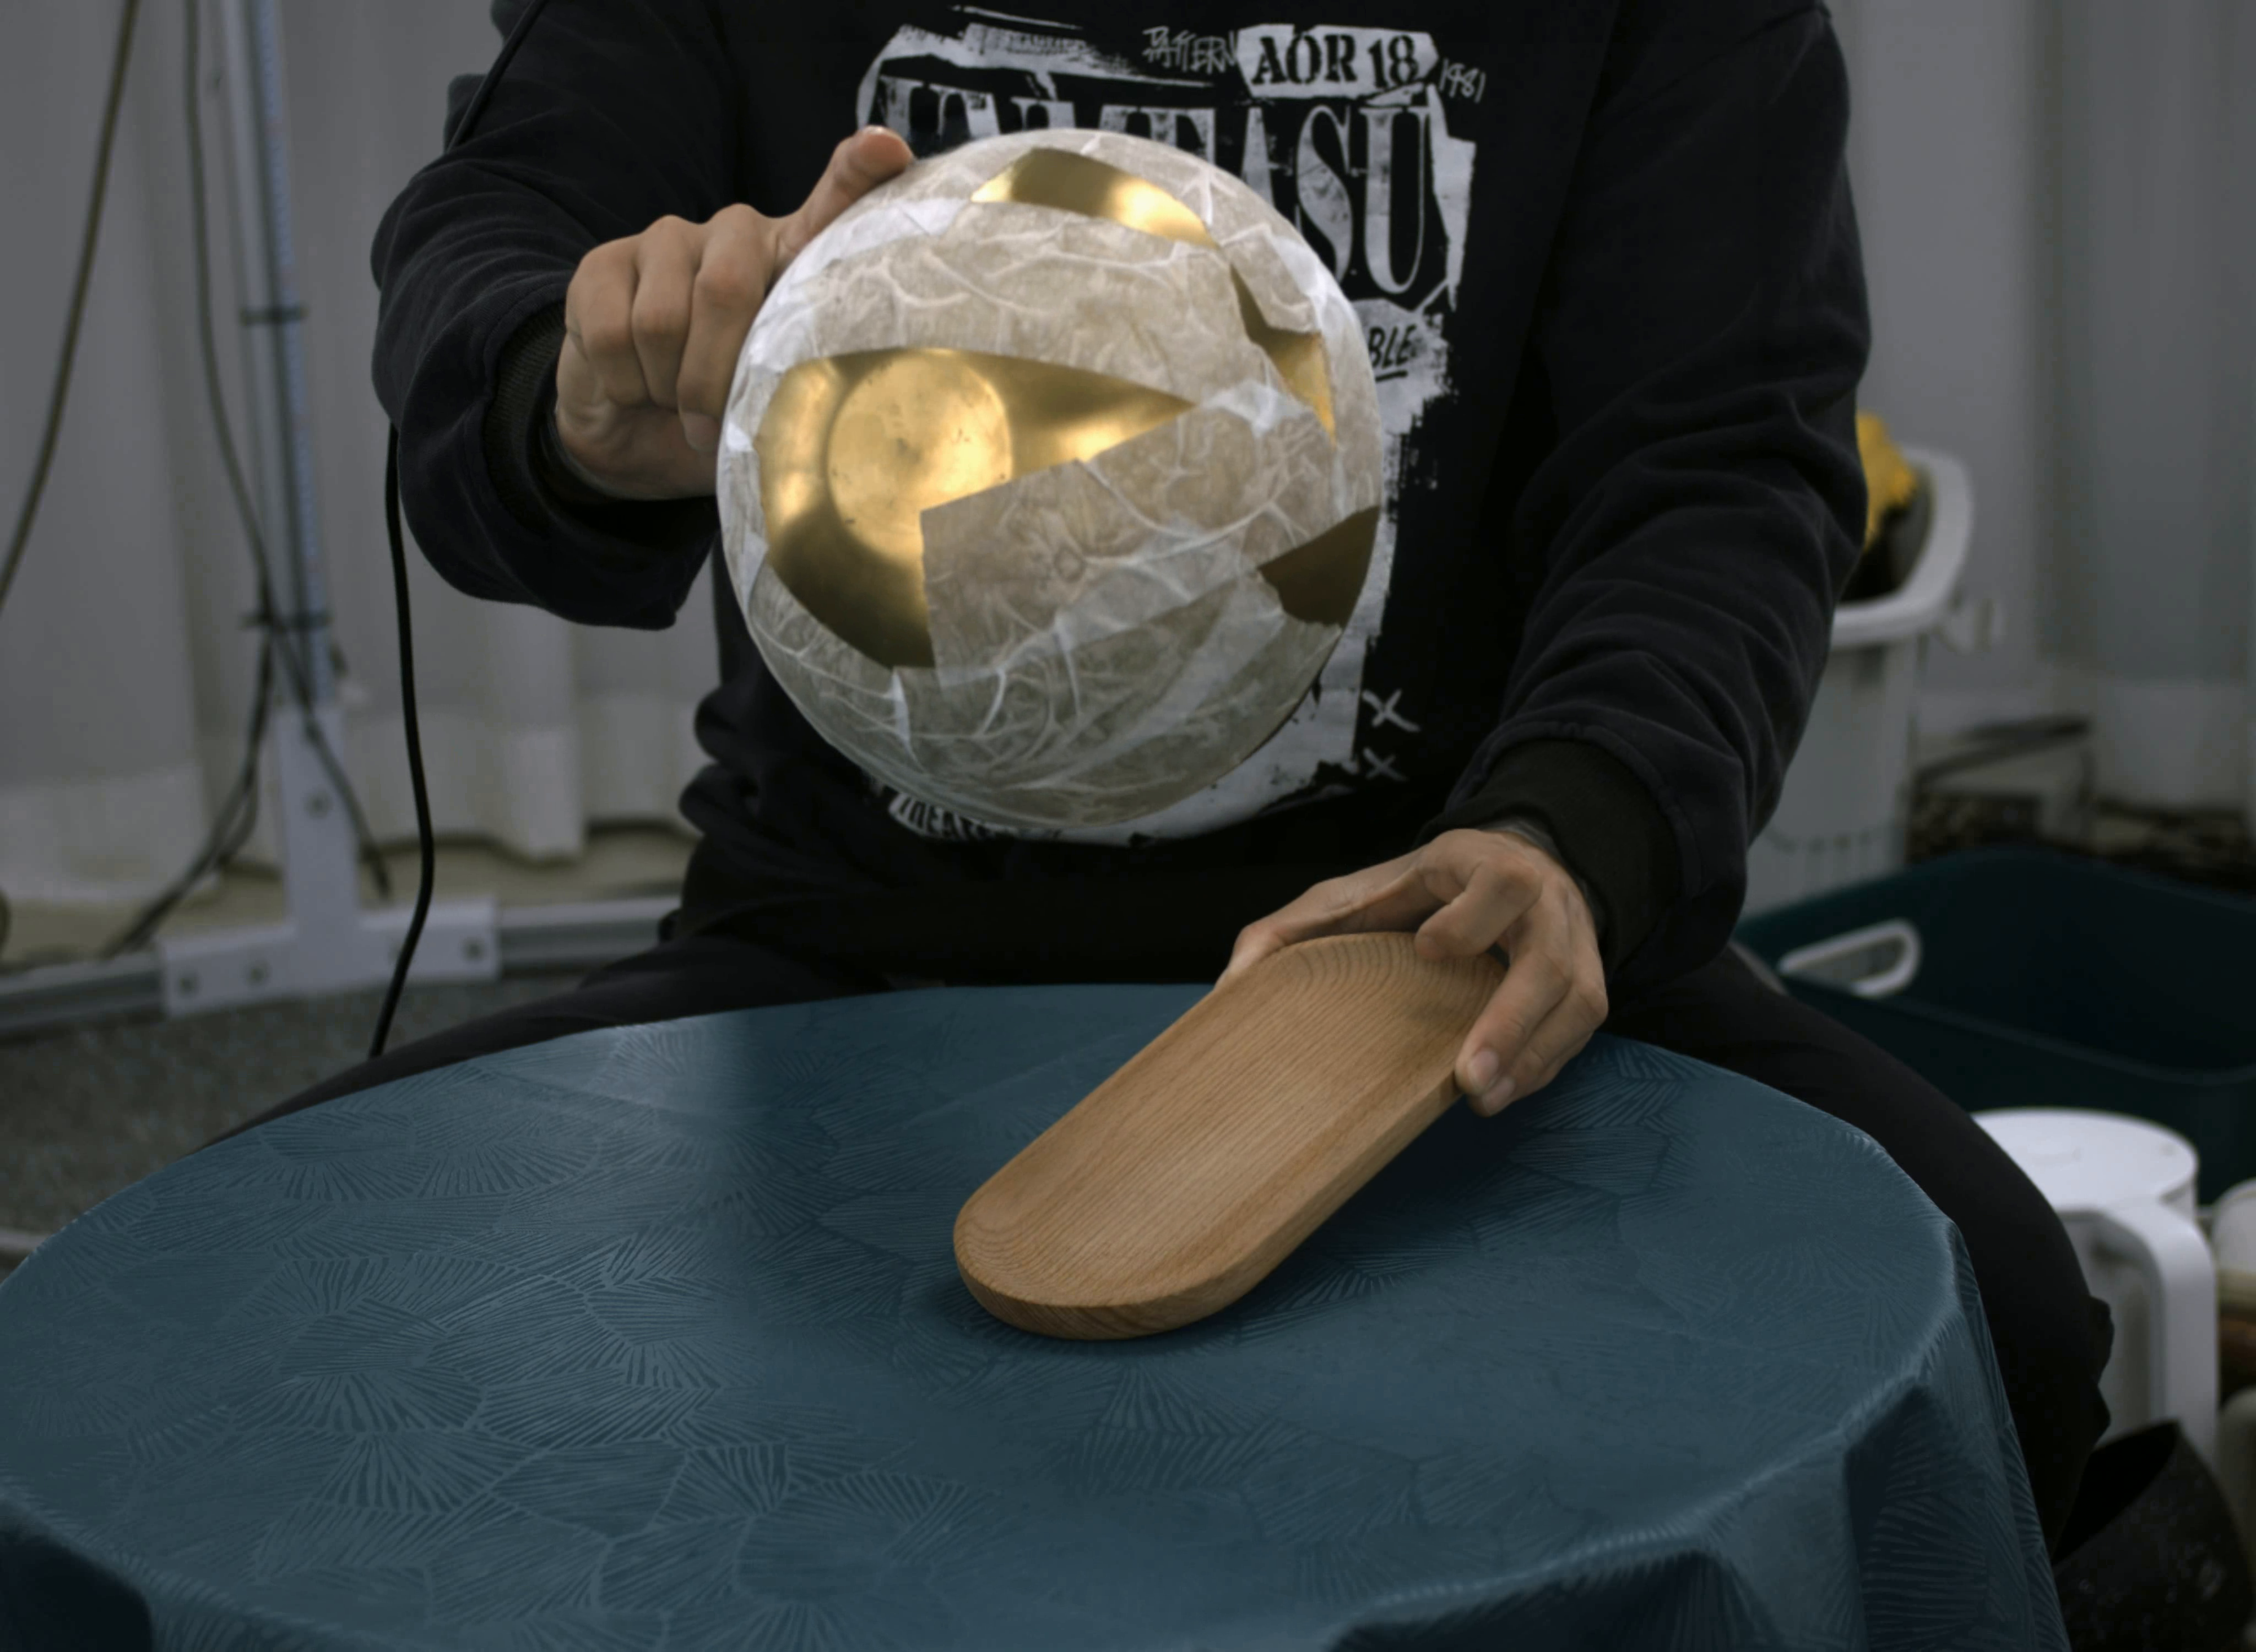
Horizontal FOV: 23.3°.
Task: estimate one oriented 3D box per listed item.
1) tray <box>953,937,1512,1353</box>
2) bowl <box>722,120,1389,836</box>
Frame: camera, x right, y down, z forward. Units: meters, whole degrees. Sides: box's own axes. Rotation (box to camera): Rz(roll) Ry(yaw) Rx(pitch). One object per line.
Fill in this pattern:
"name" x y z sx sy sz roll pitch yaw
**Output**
"tray" 0.035 0.095 1.665 0.102 0.020 0.232 8 33 34
"bowl" -0.037 -0.097 1.539 0.215 0.215 0.094 5 1 26
